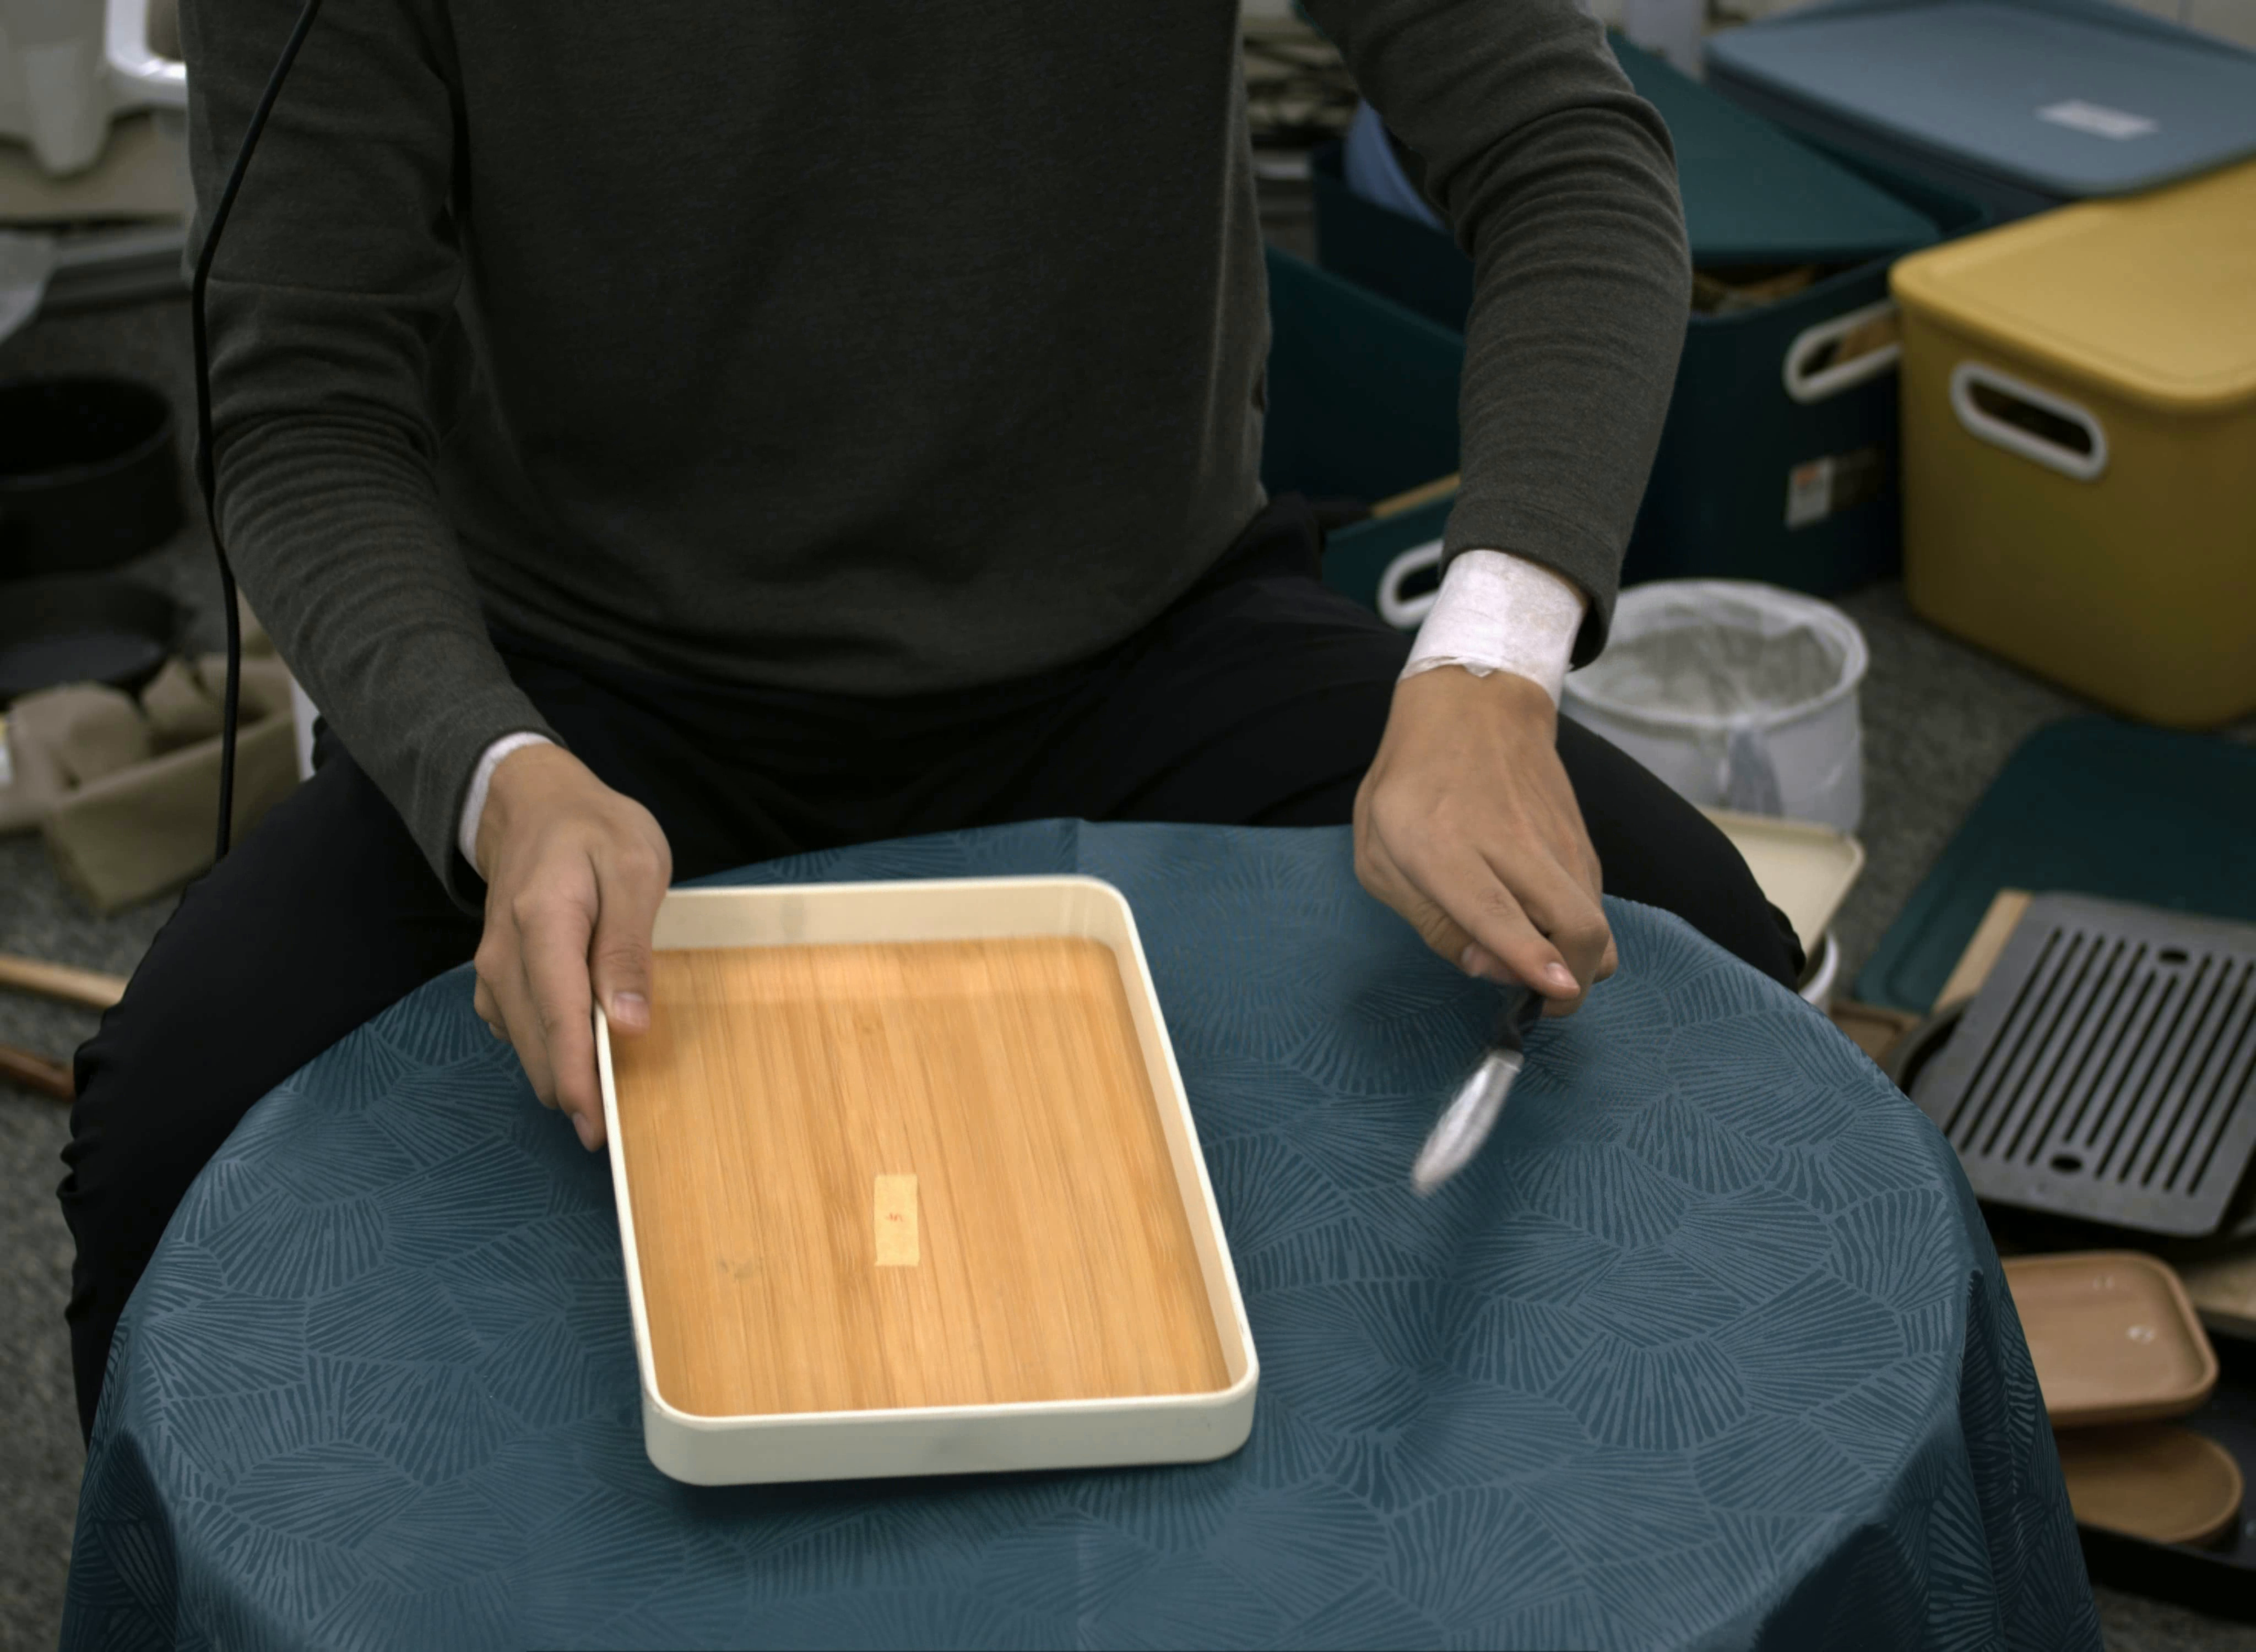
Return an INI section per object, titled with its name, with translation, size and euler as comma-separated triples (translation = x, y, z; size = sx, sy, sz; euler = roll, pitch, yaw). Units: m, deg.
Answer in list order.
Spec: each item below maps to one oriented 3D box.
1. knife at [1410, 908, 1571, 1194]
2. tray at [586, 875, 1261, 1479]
[knife]
translation = 0.114, 0.072, 1.816
size = 0.024, 0.016, 0.241
euler = 18, 22, 8
[tray]
translation = -0.073, 0.108, 1.825
size = 0.191, 0.027, 0.305
euler = -1, 32, -9
